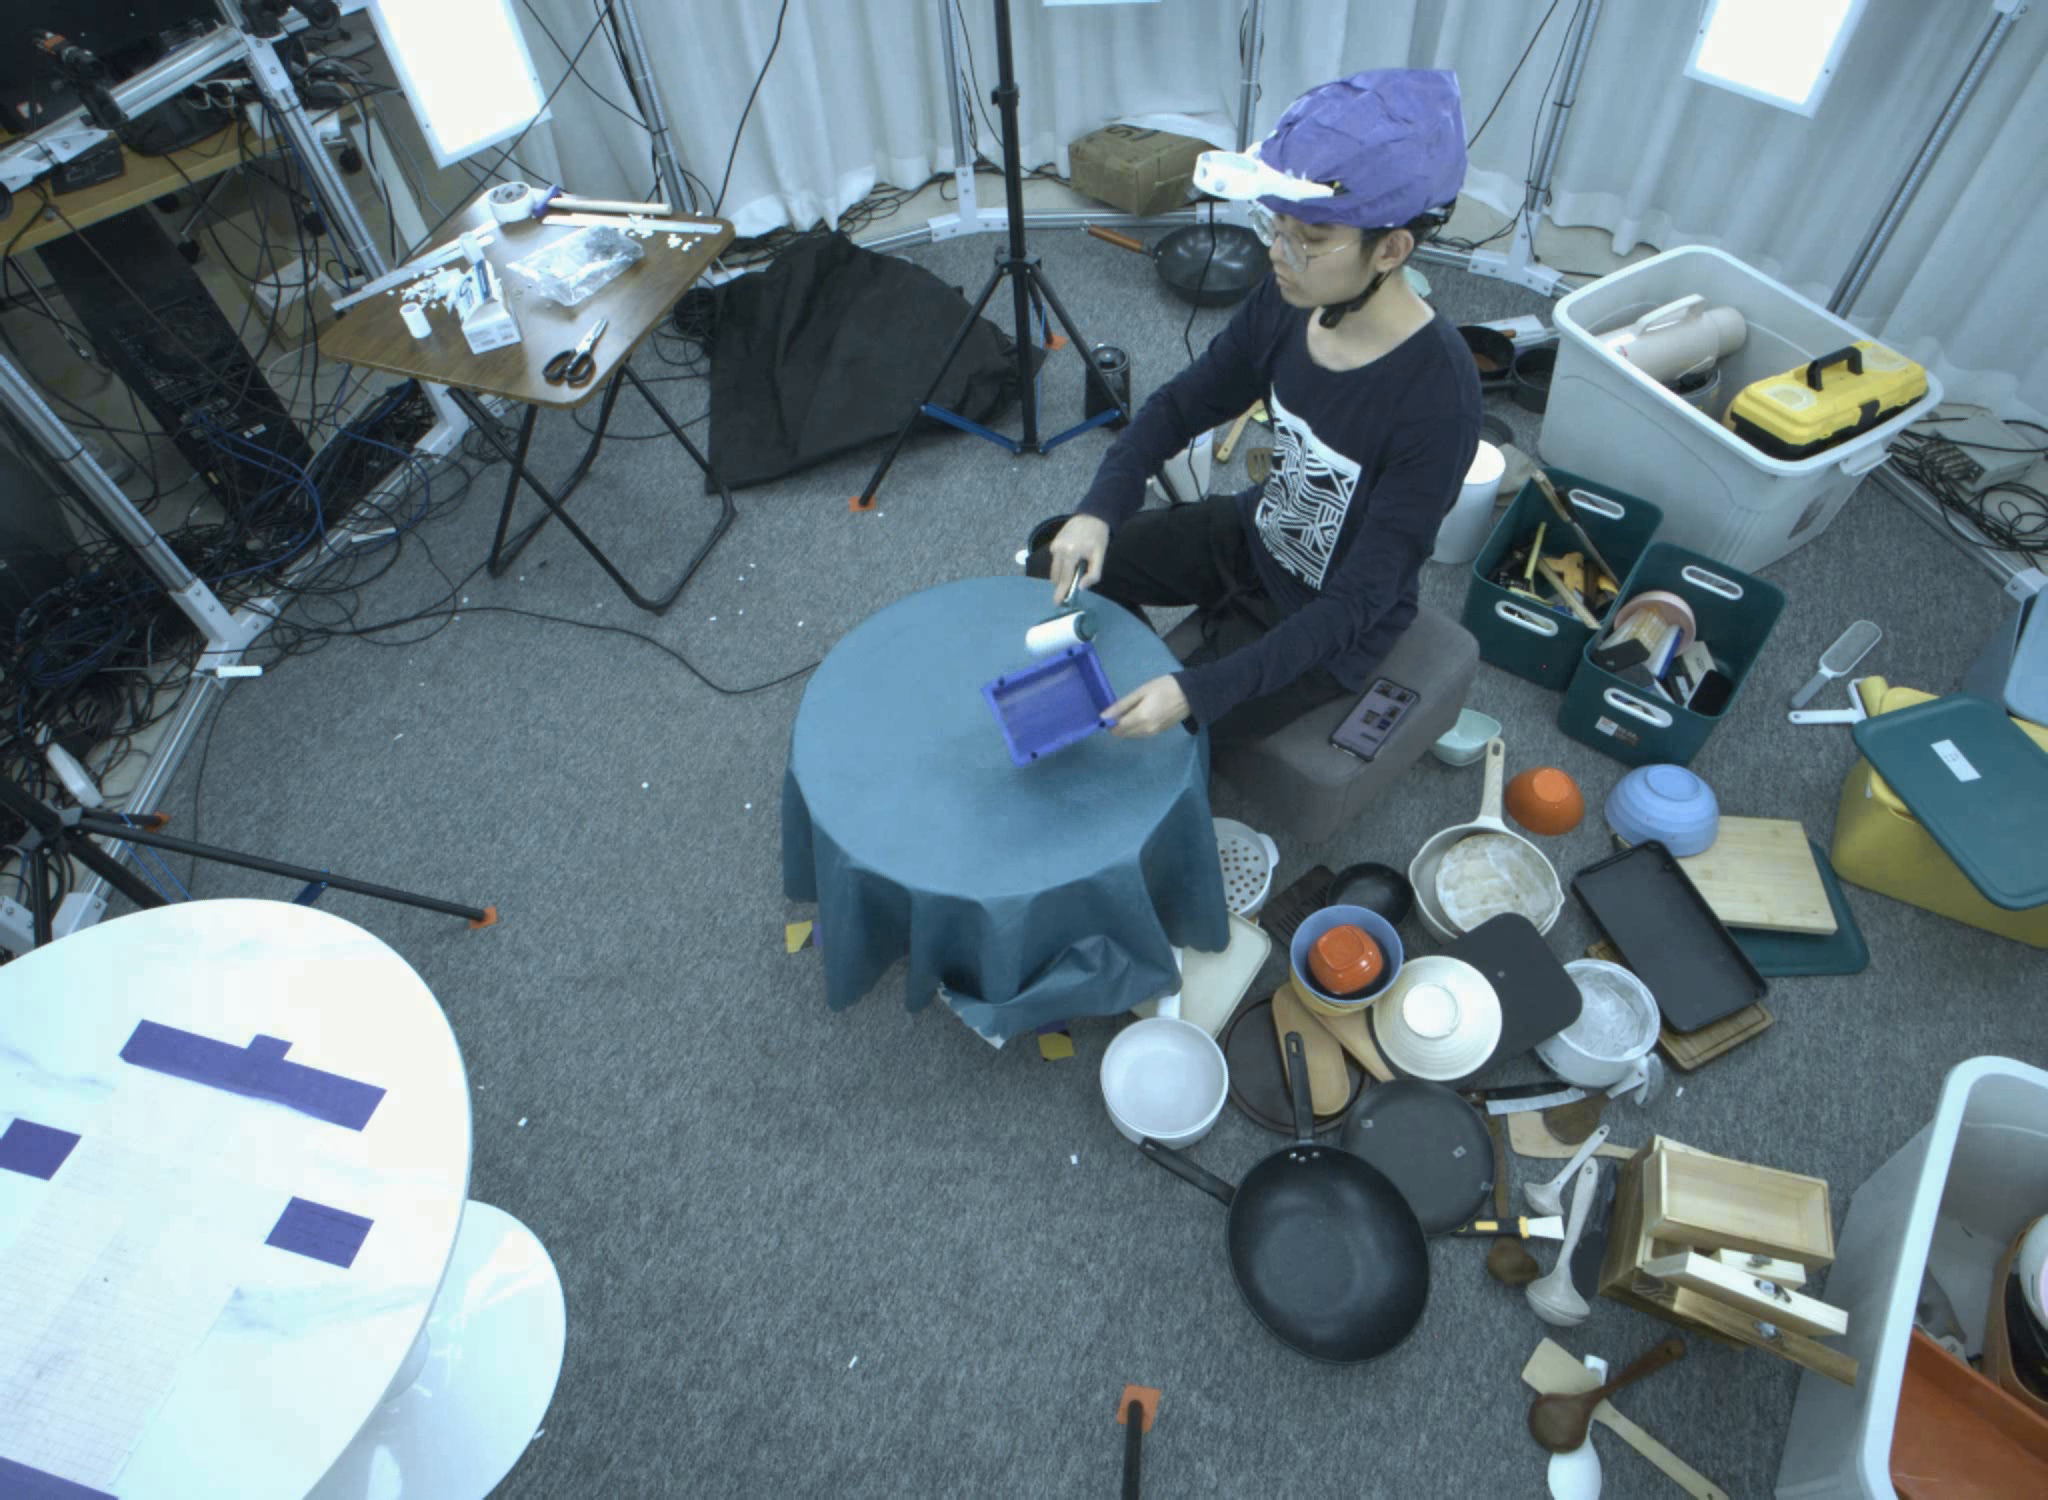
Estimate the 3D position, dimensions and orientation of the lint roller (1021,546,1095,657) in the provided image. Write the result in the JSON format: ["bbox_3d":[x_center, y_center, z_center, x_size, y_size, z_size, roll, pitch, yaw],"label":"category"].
[{"bbox_3d":[0.059,-0.230,1.799,0.132,0.049,0.179,-13,60,47],"label":"lint roller"}]

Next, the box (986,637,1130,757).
[{"bbox_3d":[0.048,-0.075,1.708,0.180,0.081,0.124,-21,88,-9],"label":"box"}]
